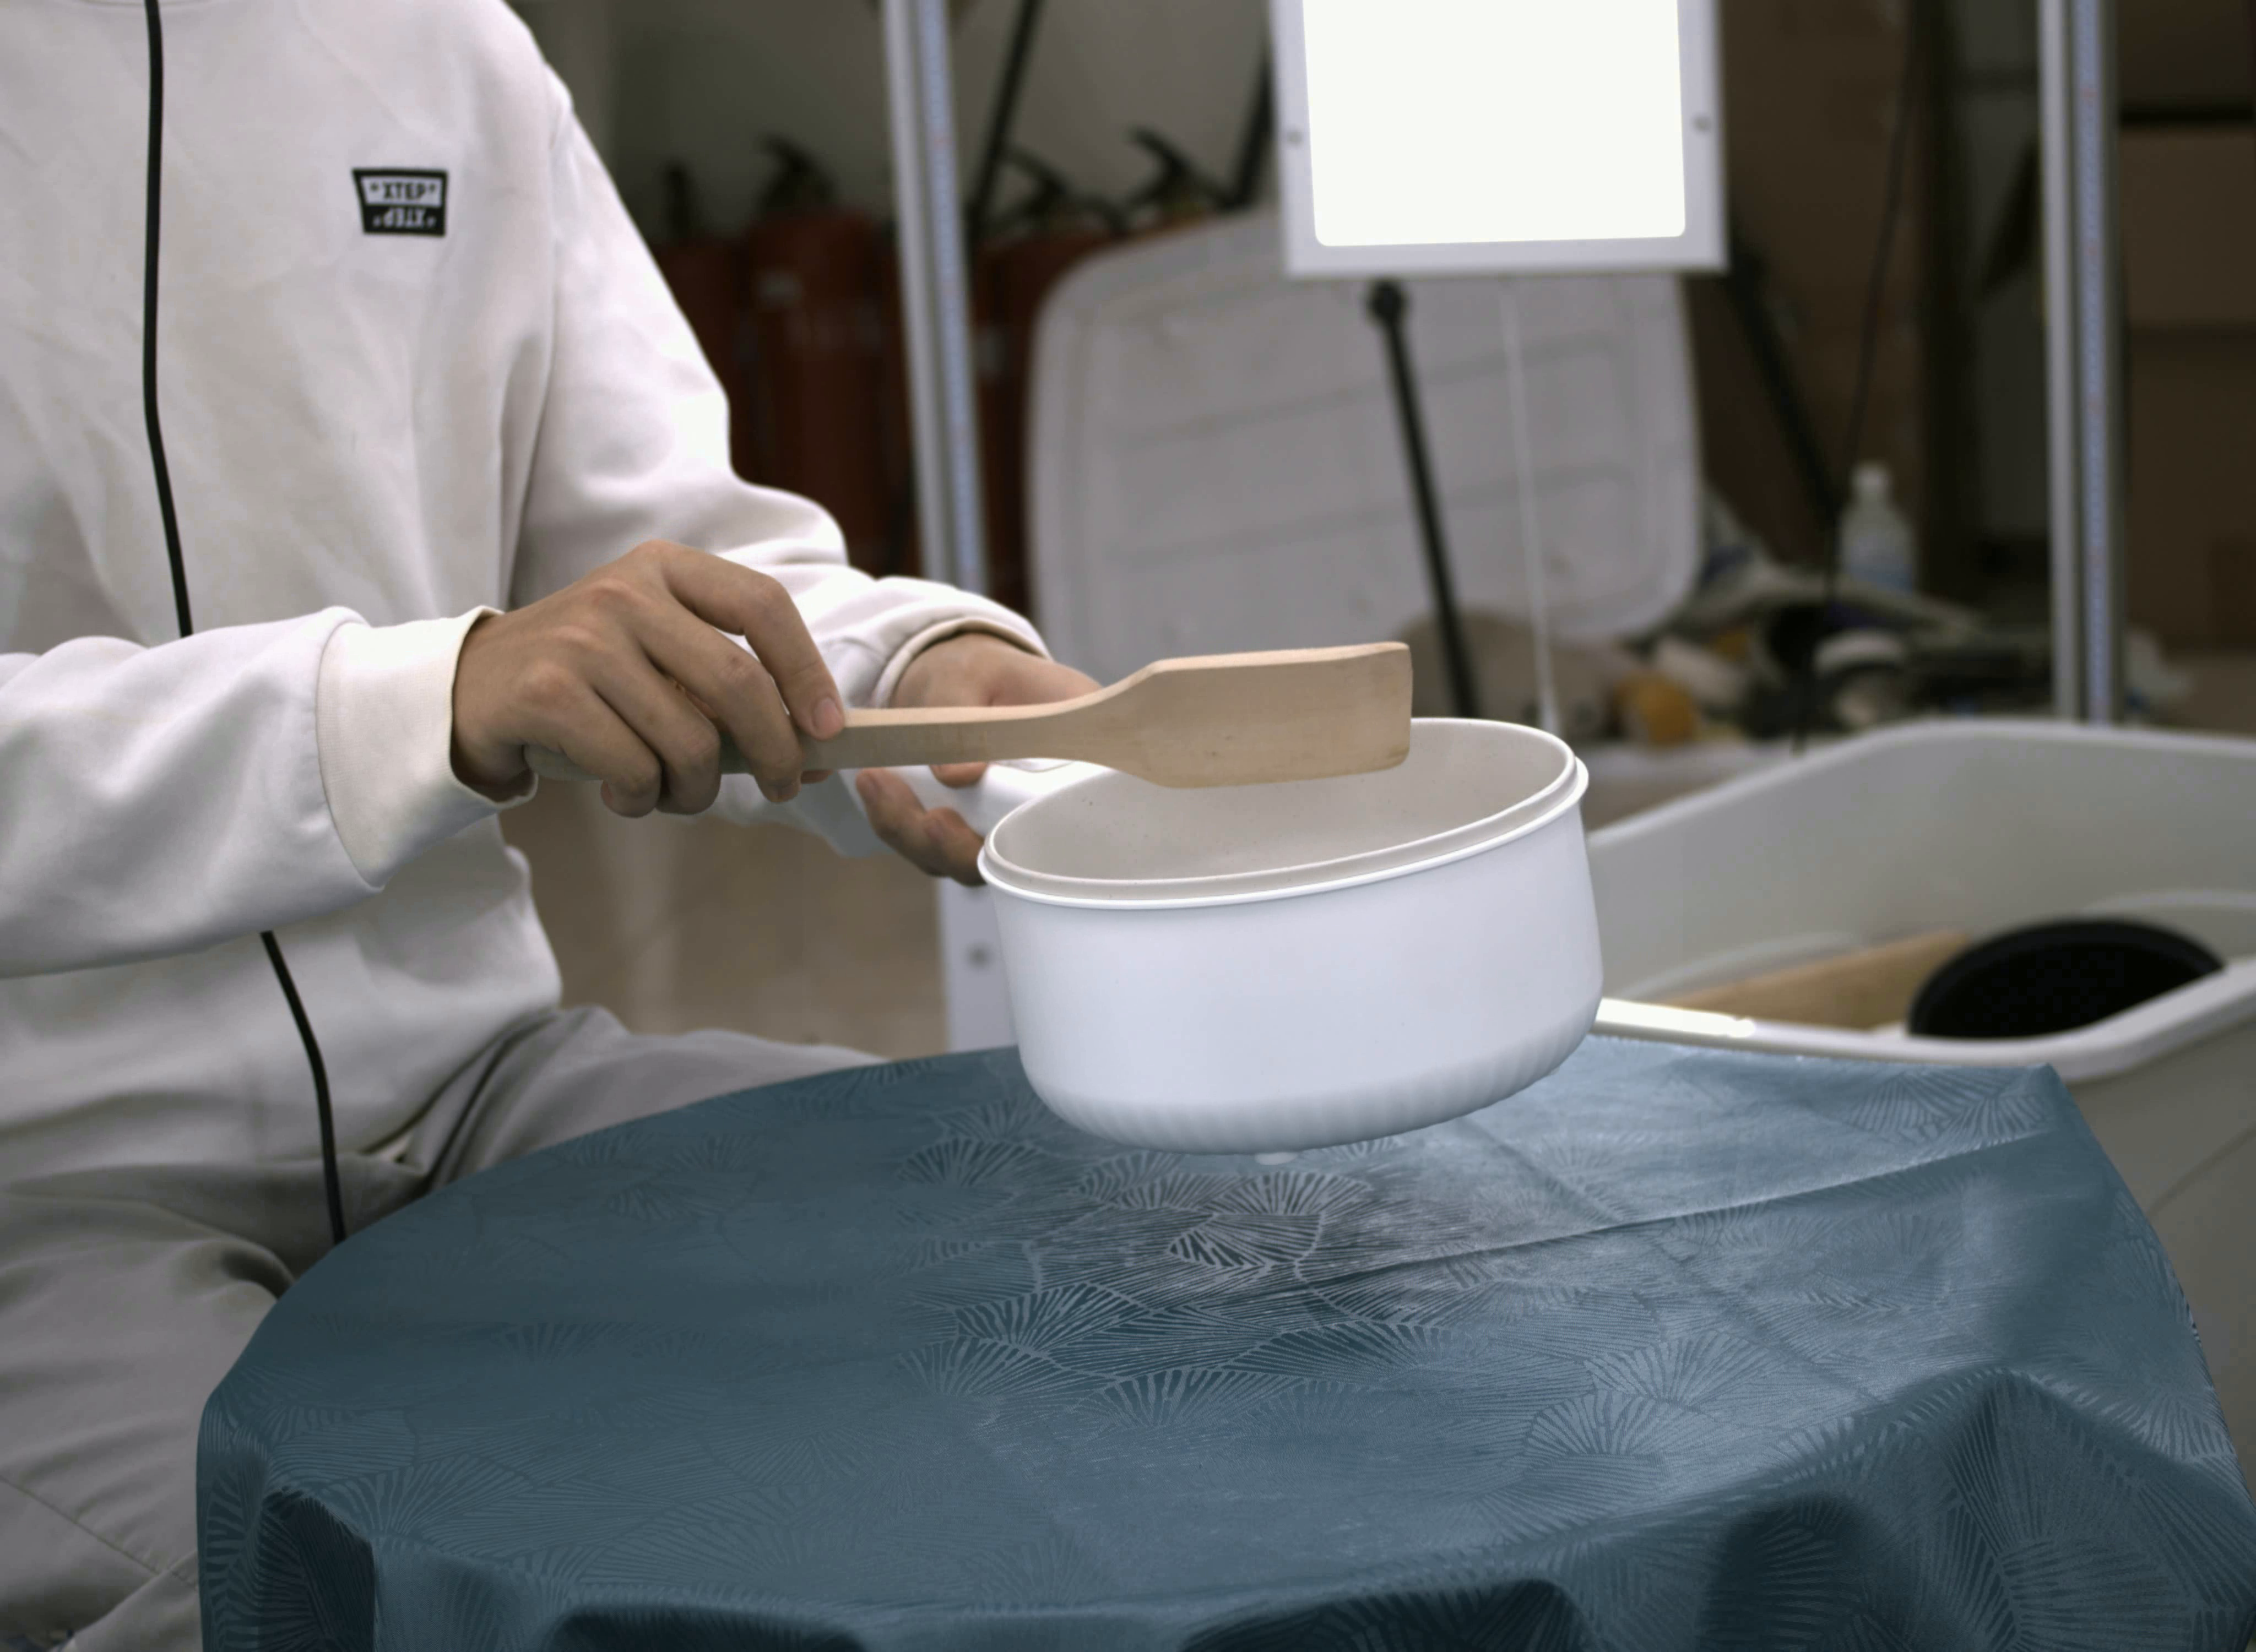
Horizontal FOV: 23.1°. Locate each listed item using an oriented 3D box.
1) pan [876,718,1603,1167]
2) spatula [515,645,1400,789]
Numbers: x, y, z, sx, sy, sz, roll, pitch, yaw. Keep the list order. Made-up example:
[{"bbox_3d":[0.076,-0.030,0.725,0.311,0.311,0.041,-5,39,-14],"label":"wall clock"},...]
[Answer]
[{"bbox_3d":[0.017,0.031,1.867,0.197,0.102,0.361,-18,15,-27],"label":"pan"},{"bbox_3d":[-0.056,-0.031,1.809,0.293,0.072,0.010,-3,57,3],"label":"spatula"}]
